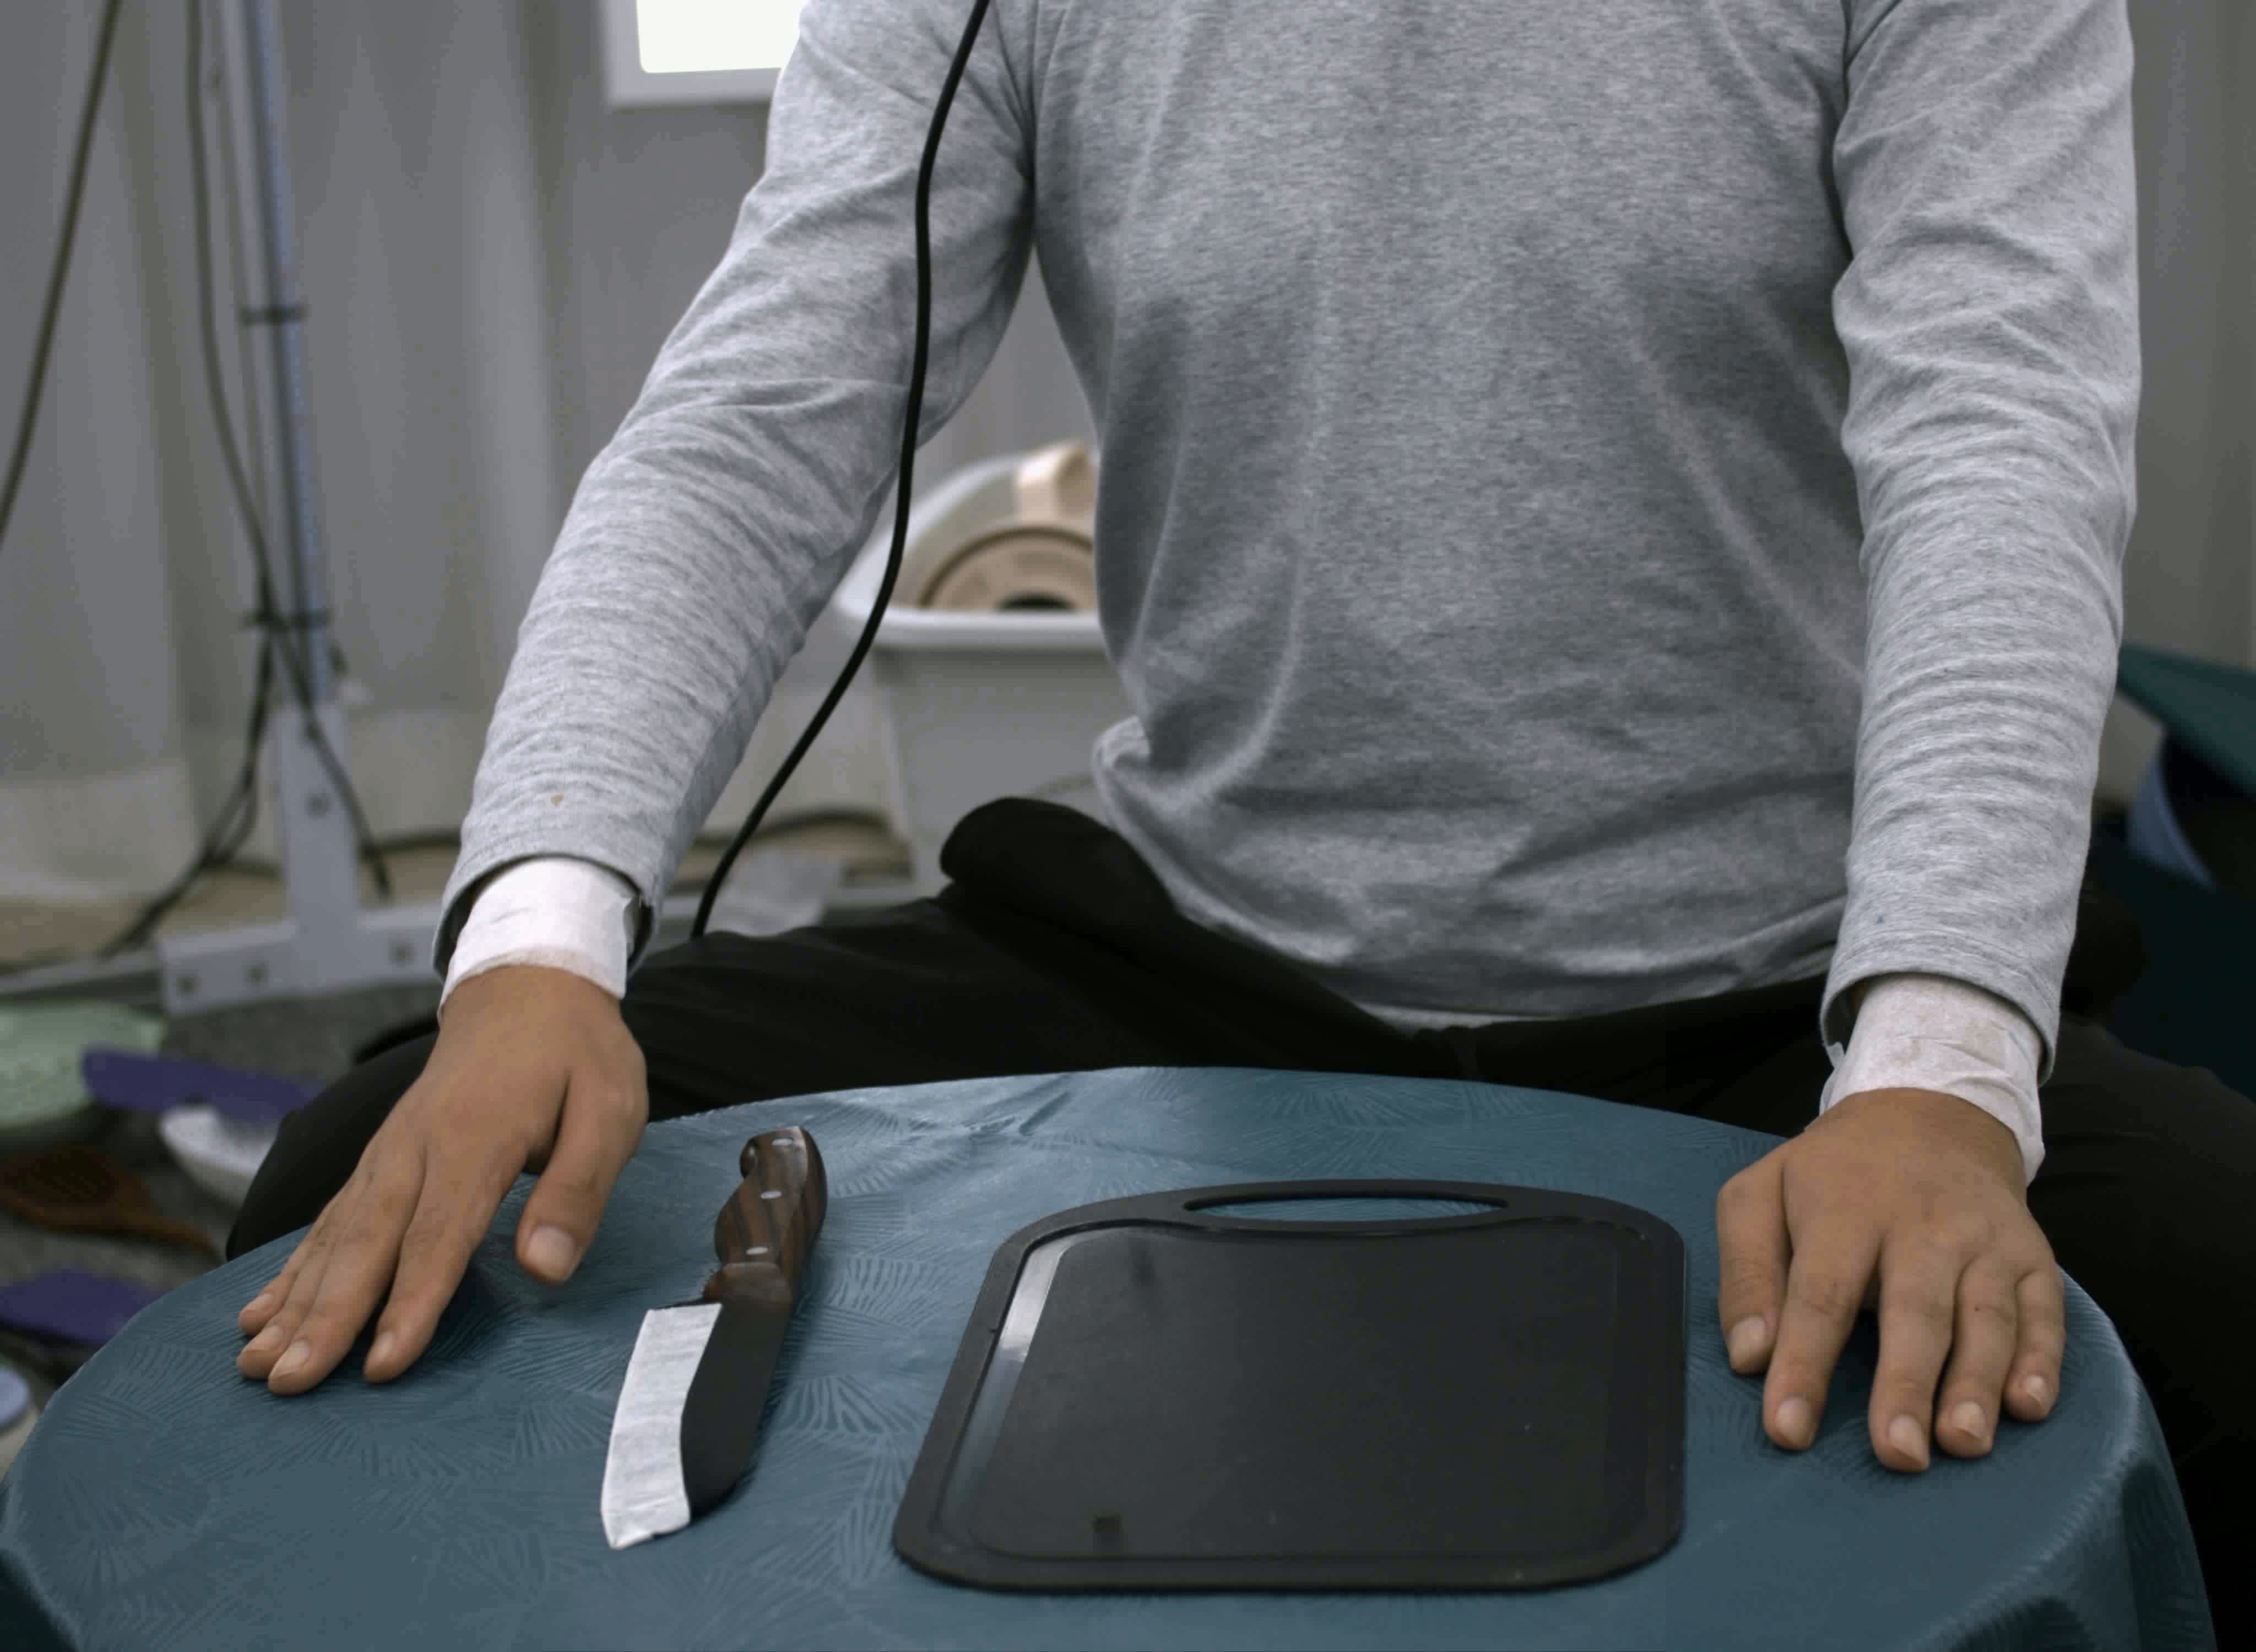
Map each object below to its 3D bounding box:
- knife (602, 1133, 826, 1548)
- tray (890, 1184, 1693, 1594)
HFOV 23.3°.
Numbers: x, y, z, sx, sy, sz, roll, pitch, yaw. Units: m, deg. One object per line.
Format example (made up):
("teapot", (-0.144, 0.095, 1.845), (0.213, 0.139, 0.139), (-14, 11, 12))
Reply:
("knife", (-0.119, 0.148, 1.586), (0.050, 0.020, 0.291), (-6, 17, 7))
("tray", (0.053, 0.153, 1.553), (0.210, 0.010, 0.327), (-1, 15, 7))
